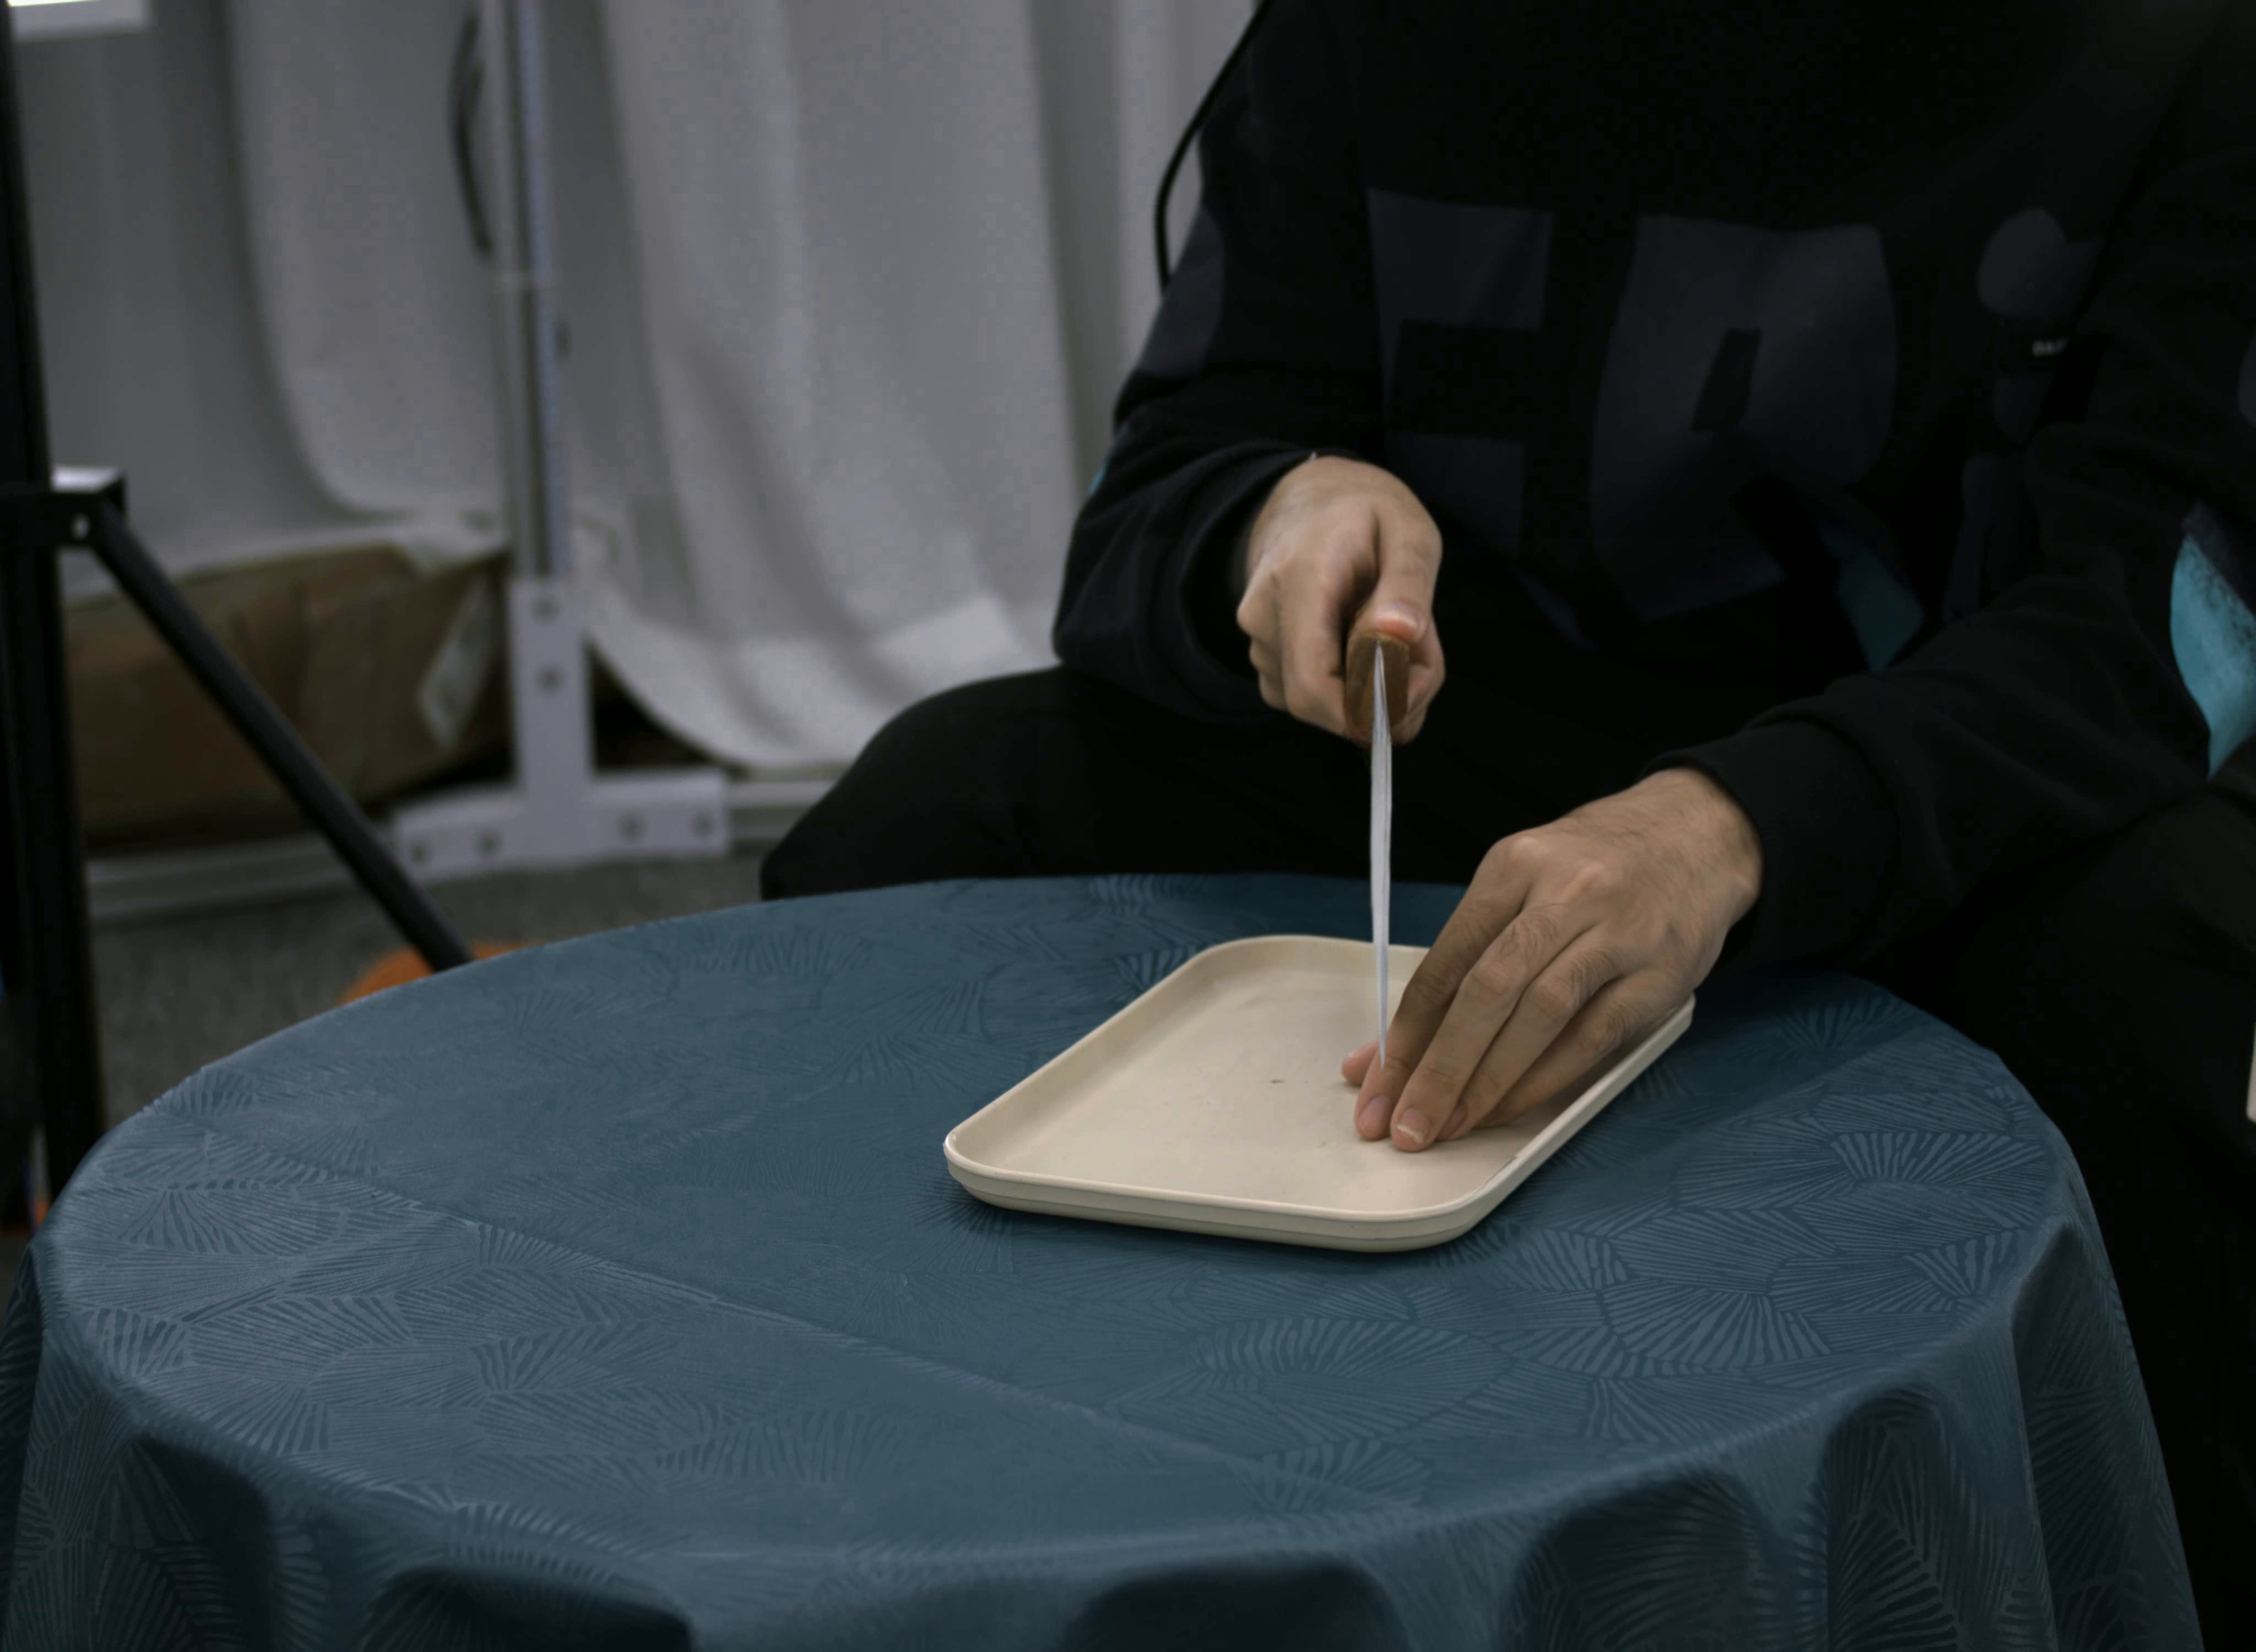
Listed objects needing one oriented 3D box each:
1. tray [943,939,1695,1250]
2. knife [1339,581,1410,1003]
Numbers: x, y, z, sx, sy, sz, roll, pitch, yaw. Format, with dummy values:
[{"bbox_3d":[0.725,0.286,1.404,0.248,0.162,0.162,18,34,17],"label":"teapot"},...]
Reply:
[{"bbox_3d":[0.062,0.080,1.610,0.174,0.017,0.236,4,17,26],"label":"tray"},{"bbox_3d":[0.078,-0.012,1.650,0.021,0.093,0.306,1,13,1],"label":"knife"}]
